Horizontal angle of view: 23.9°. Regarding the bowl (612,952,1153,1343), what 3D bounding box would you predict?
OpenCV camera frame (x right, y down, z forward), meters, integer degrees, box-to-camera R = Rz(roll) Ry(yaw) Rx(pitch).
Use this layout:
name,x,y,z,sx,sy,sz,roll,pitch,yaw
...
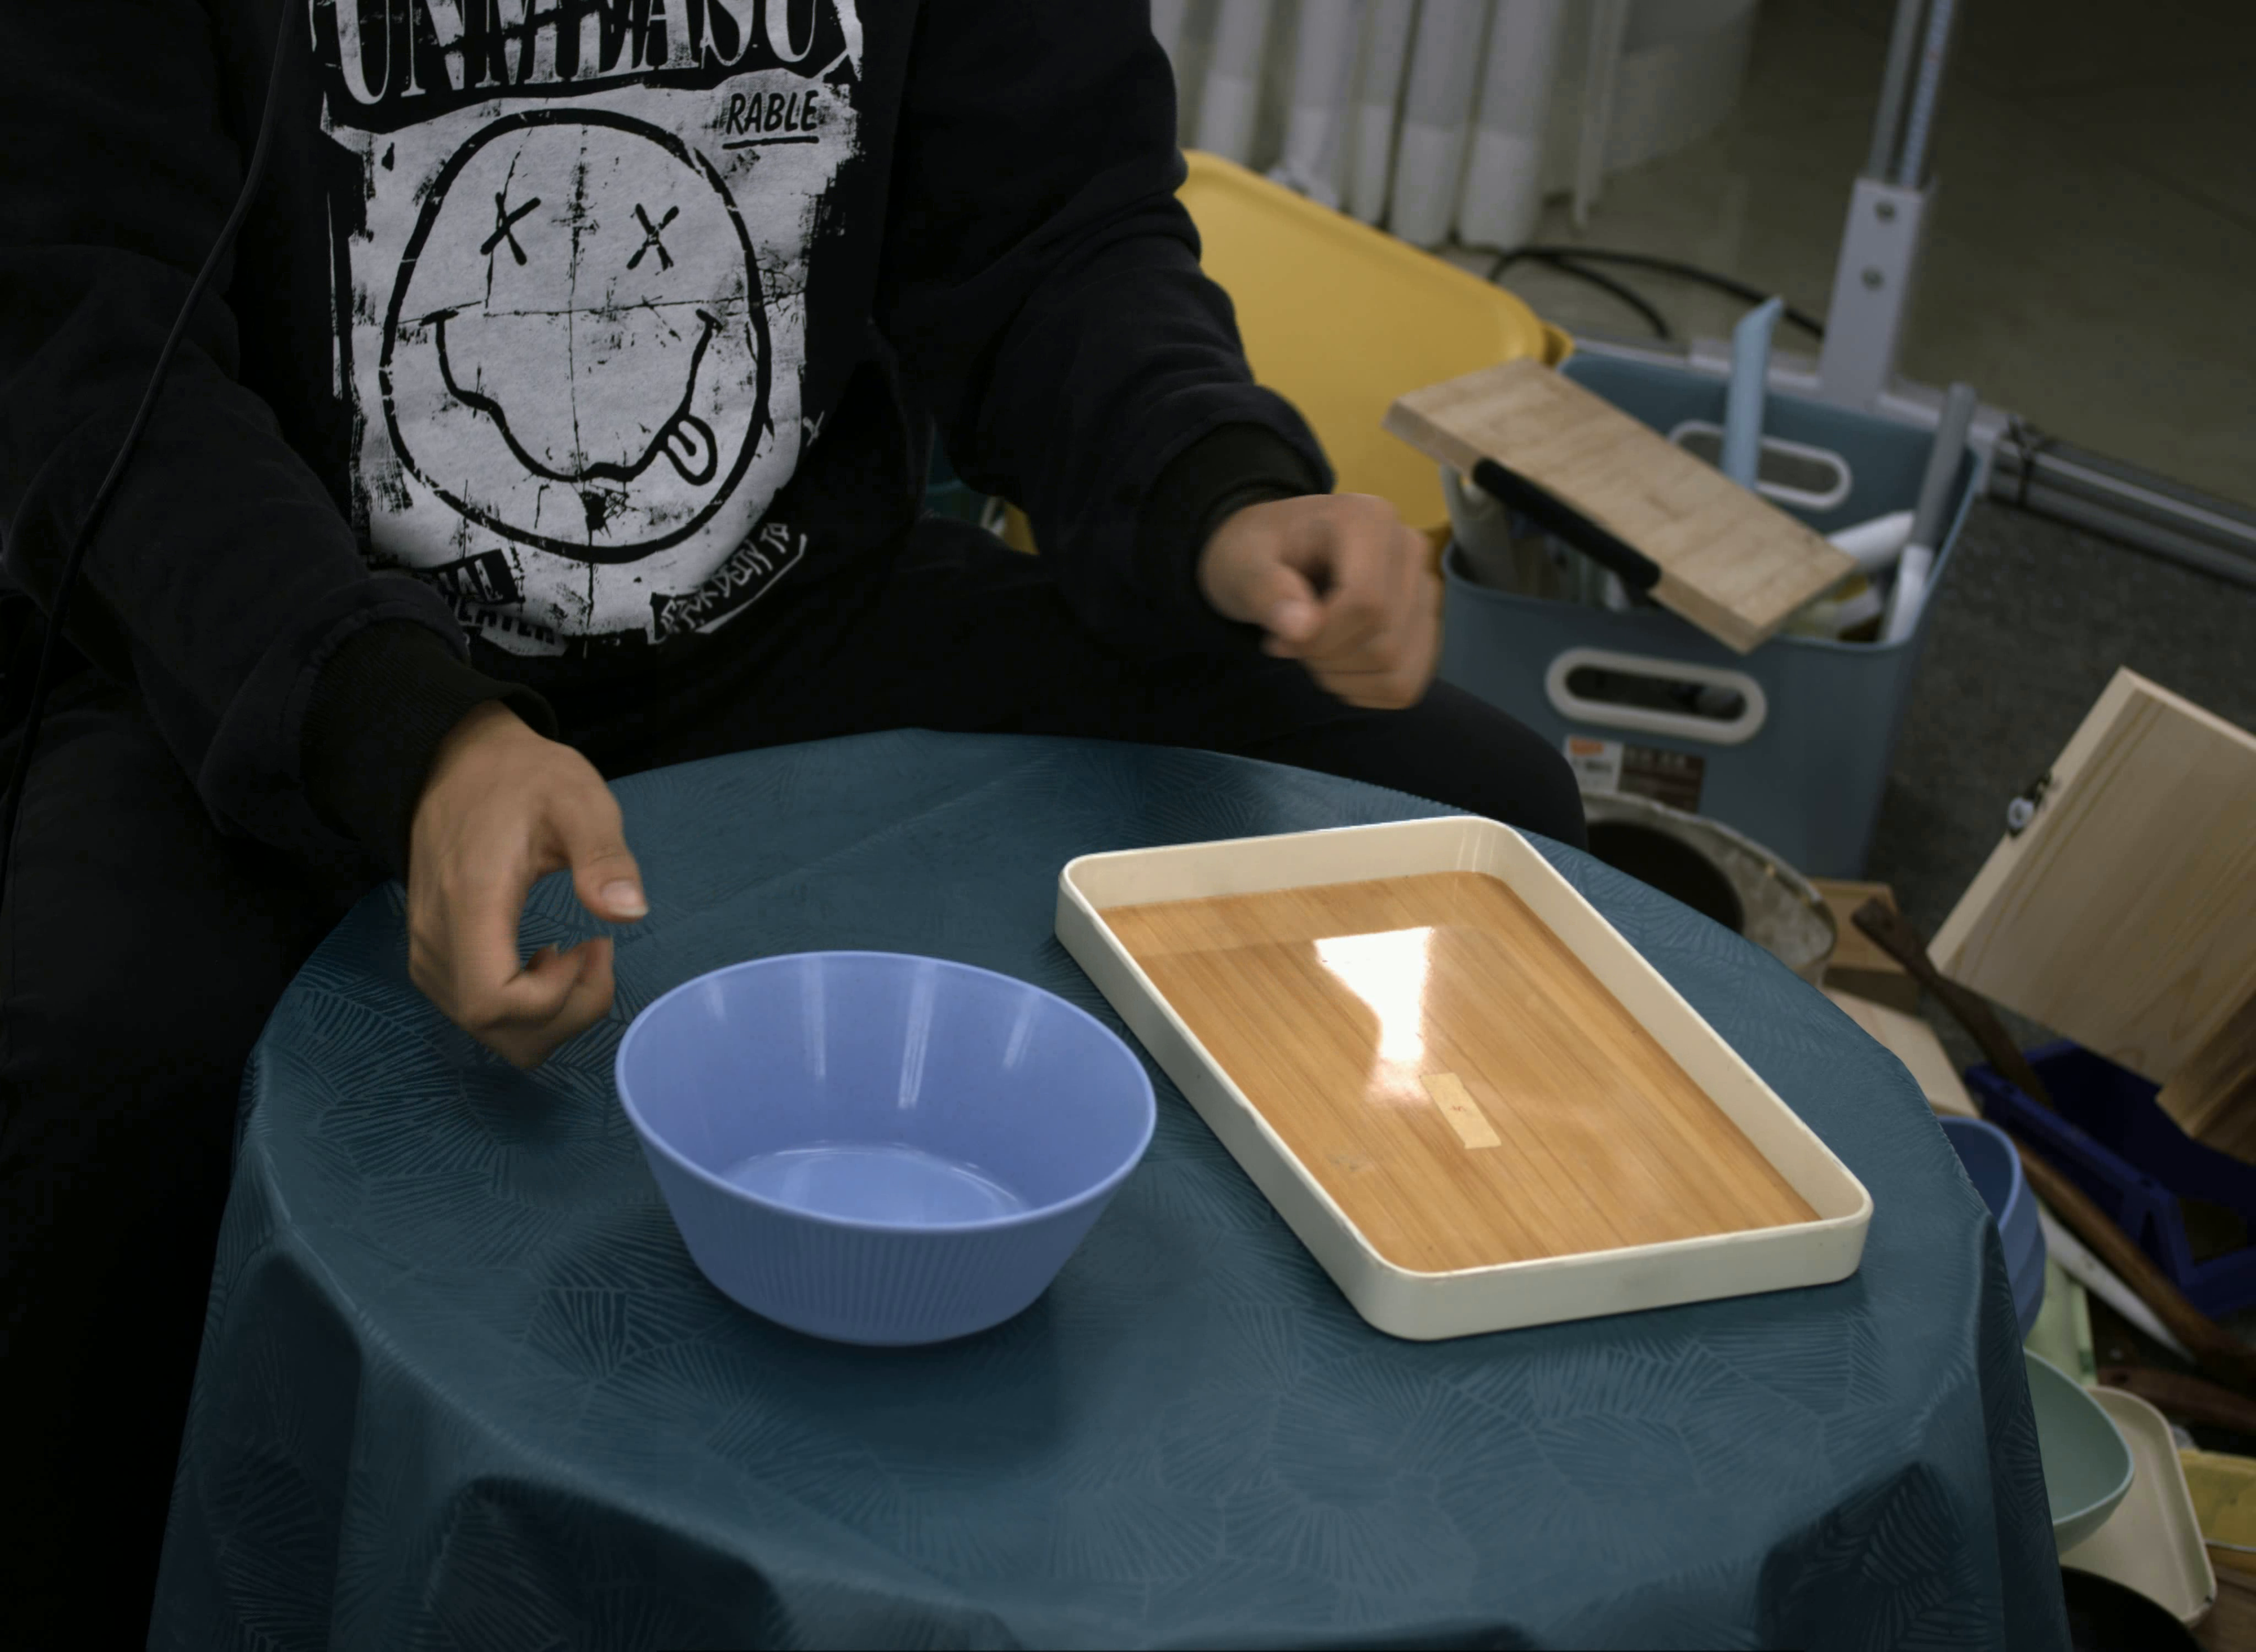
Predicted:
name,x,y,z,sx,sy,sz,roll,pitch,yaw
bowl,-0.083,0.110,1.729,0.175,0.070,0.177,6,27,-3

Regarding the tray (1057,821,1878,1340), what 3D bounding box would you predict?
name,x,y,z,sx,sy,sz,roll,pitch,yaw
tray,0.113,0.084,1.876,0.190,0.027,0.303,-5,29,-23
